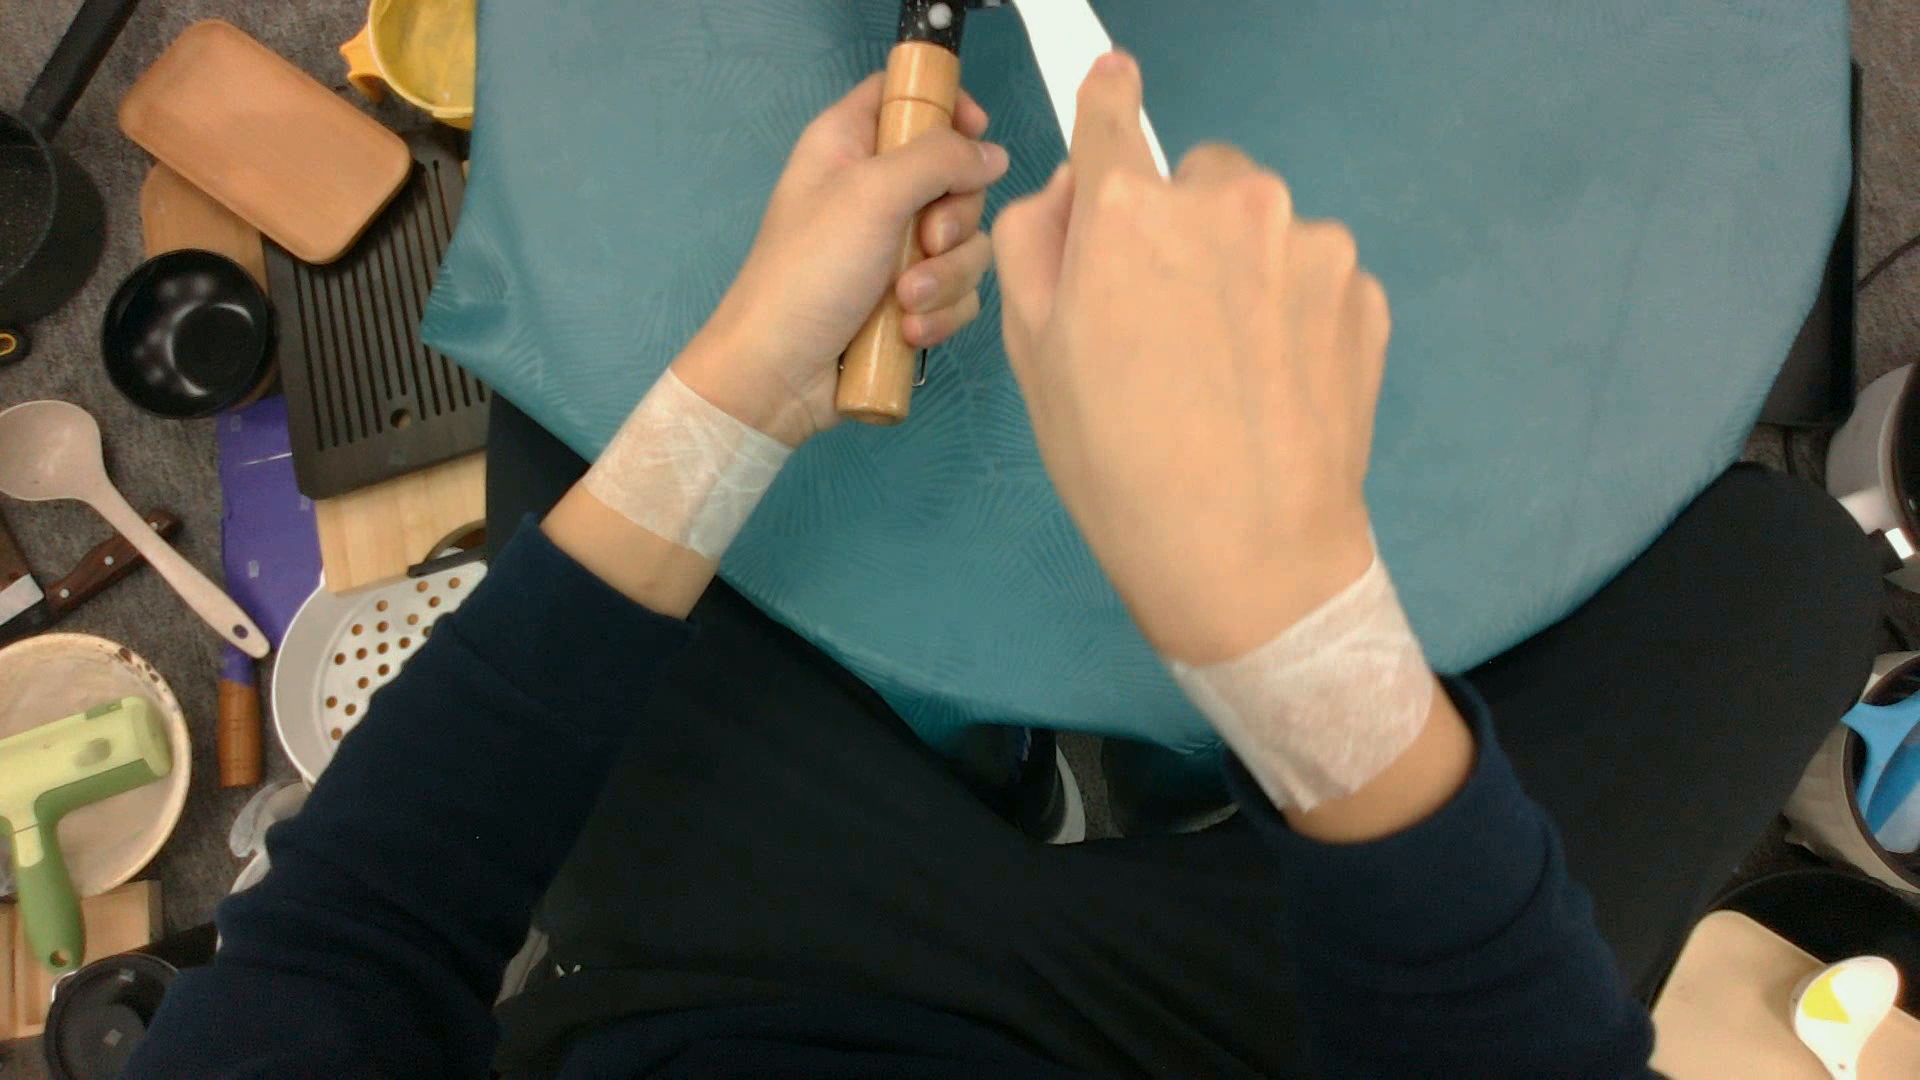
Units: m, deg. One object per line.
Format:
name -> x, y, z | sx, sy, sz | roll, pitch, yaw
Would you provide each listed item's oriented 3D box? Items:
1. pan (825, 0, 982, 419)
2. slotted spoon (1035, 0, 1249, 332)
pan -> -0.012, -0.215, 0.507 | 0.208, 0.108, 0.342 | 8, 96, -16
slotted spoon -> 0.019, -0.186, 0.436 | 0.137, 0.050, 0.349 | -8, 45, -10
